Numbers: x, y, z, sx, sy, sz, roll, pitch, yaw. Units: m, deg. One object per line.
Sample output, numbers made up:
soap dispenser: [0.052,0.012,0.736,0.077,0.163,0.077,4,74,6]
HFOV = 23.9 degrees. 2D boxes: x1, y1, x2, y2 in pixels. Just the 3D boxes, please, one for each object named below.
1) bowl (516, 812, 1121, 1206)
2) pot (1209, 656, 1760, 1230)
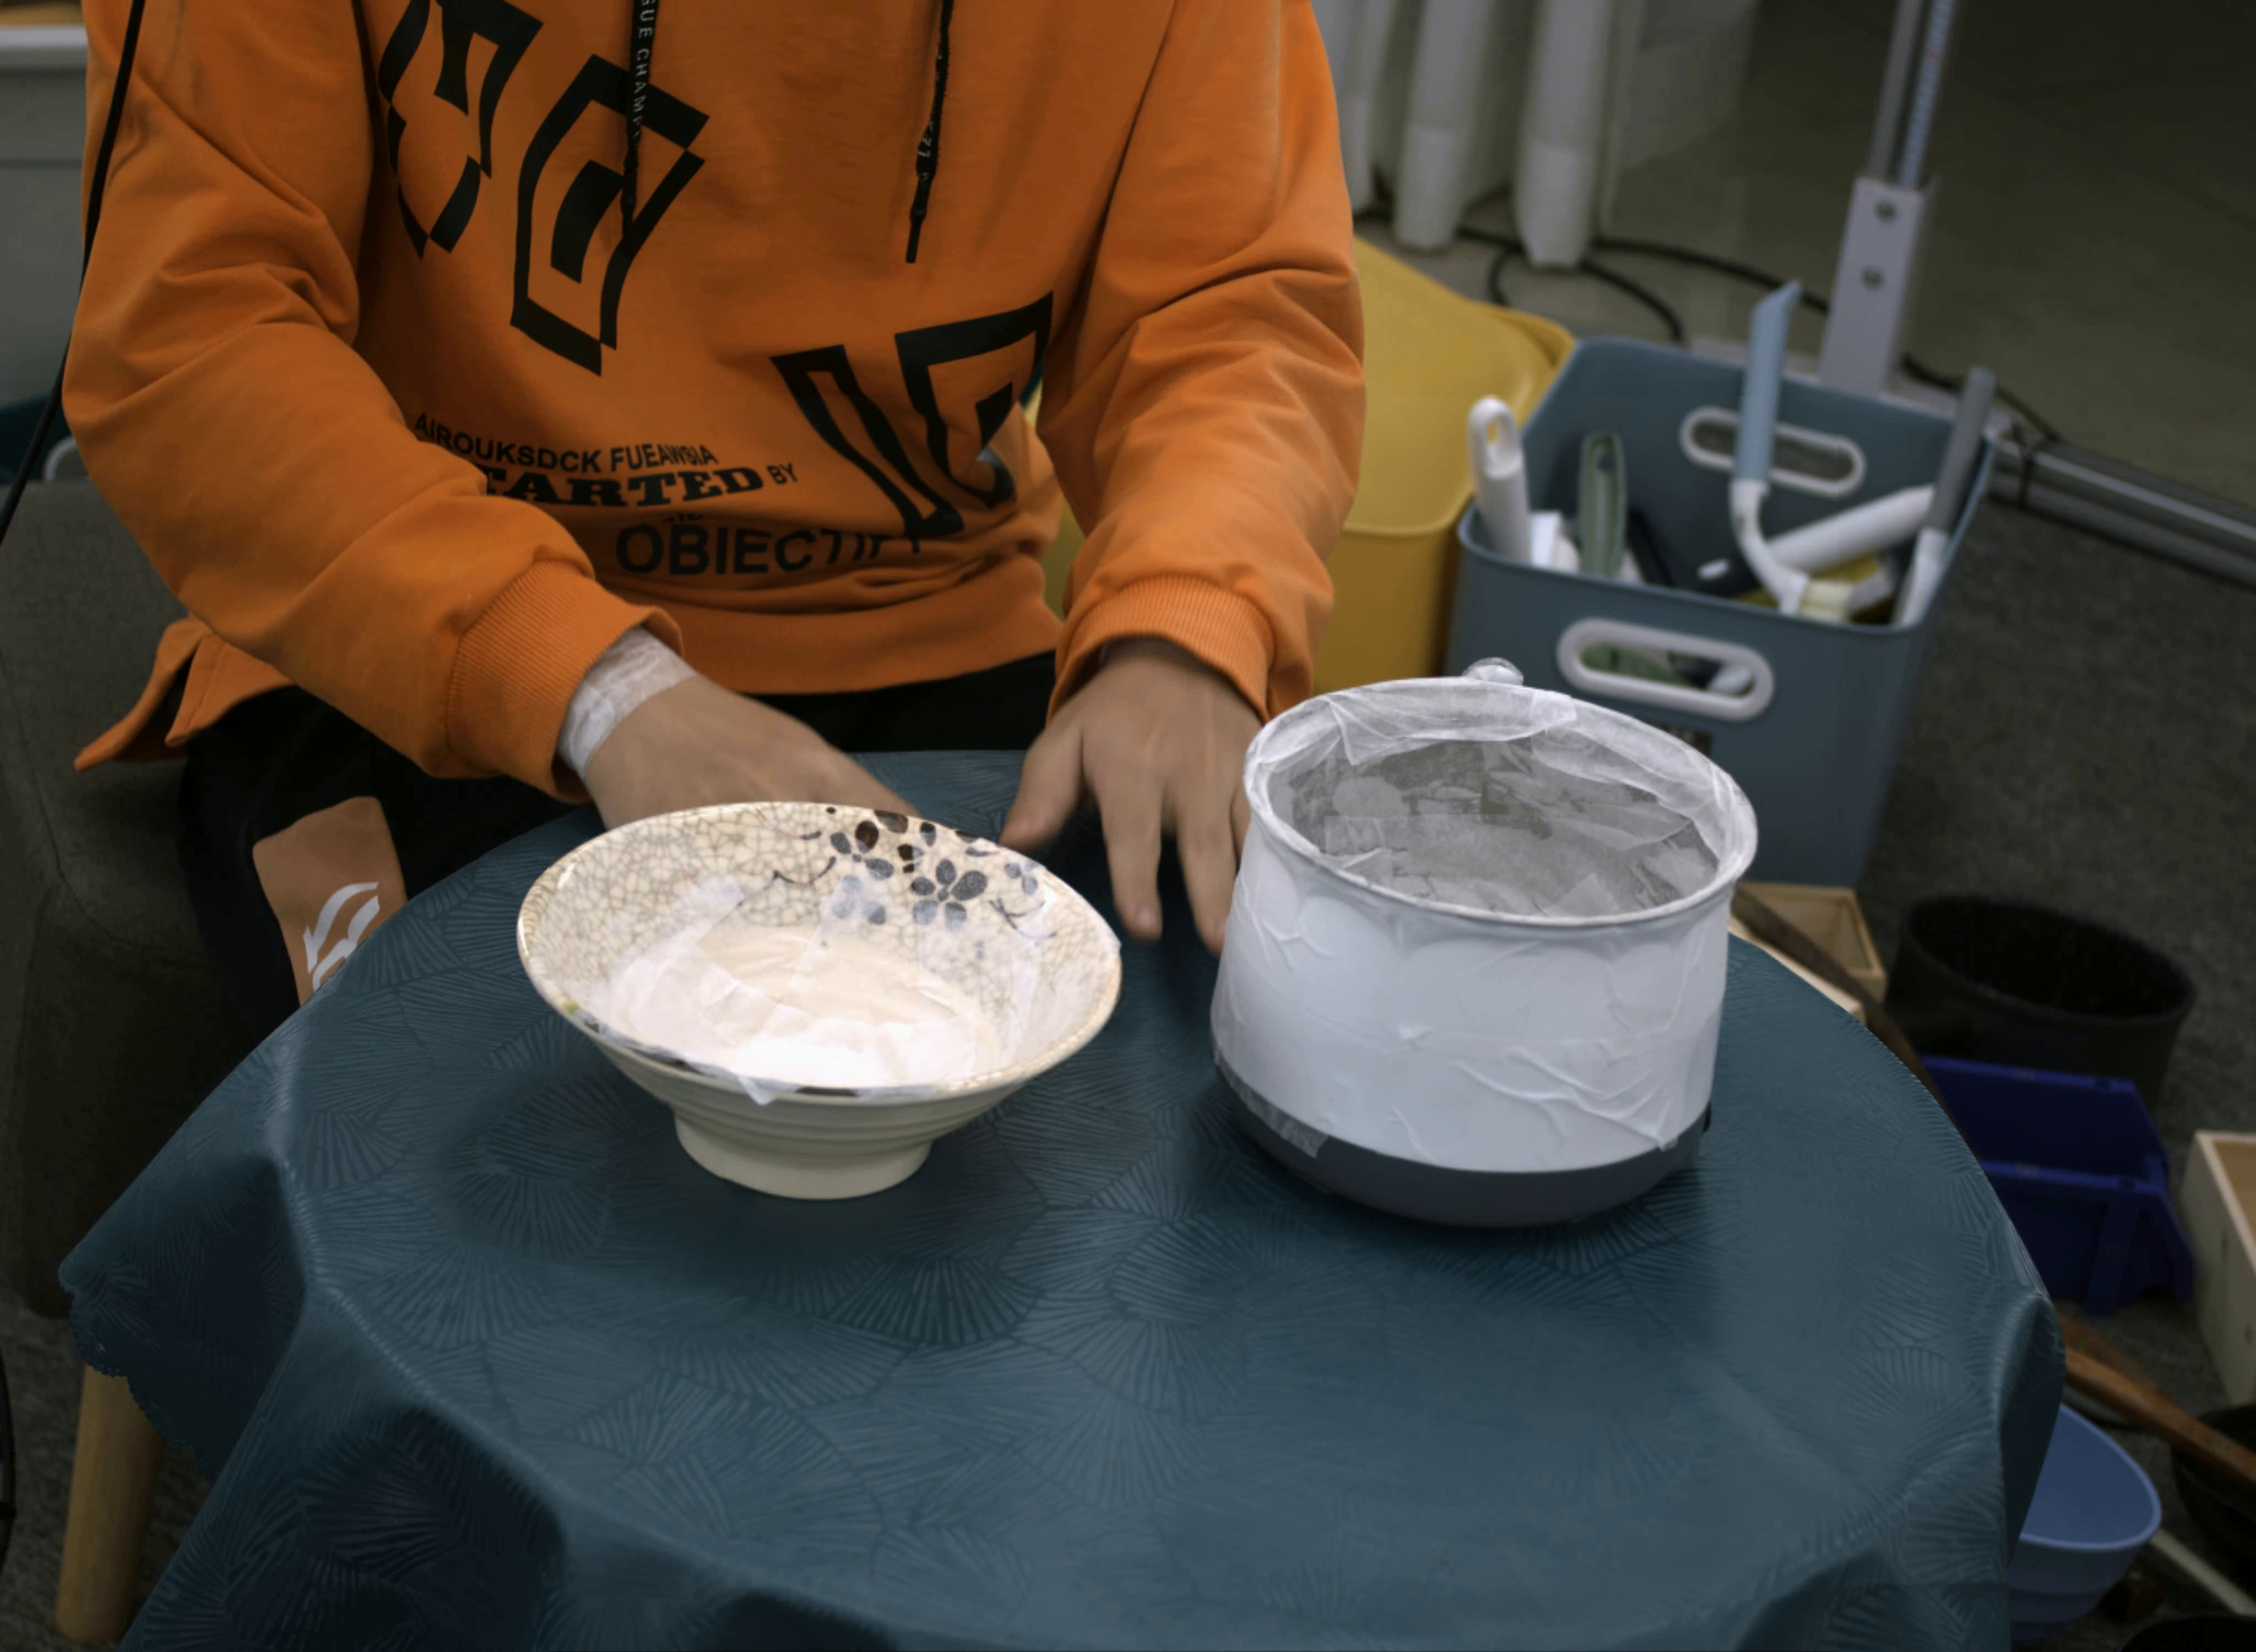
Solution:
bowl: [-0.106,0.073,1.795,0.203,0.078,0.205,5,25,-2]
pot: [0.120,0.033,1.856,0.178,0.136,0.235,6,27,-2]
